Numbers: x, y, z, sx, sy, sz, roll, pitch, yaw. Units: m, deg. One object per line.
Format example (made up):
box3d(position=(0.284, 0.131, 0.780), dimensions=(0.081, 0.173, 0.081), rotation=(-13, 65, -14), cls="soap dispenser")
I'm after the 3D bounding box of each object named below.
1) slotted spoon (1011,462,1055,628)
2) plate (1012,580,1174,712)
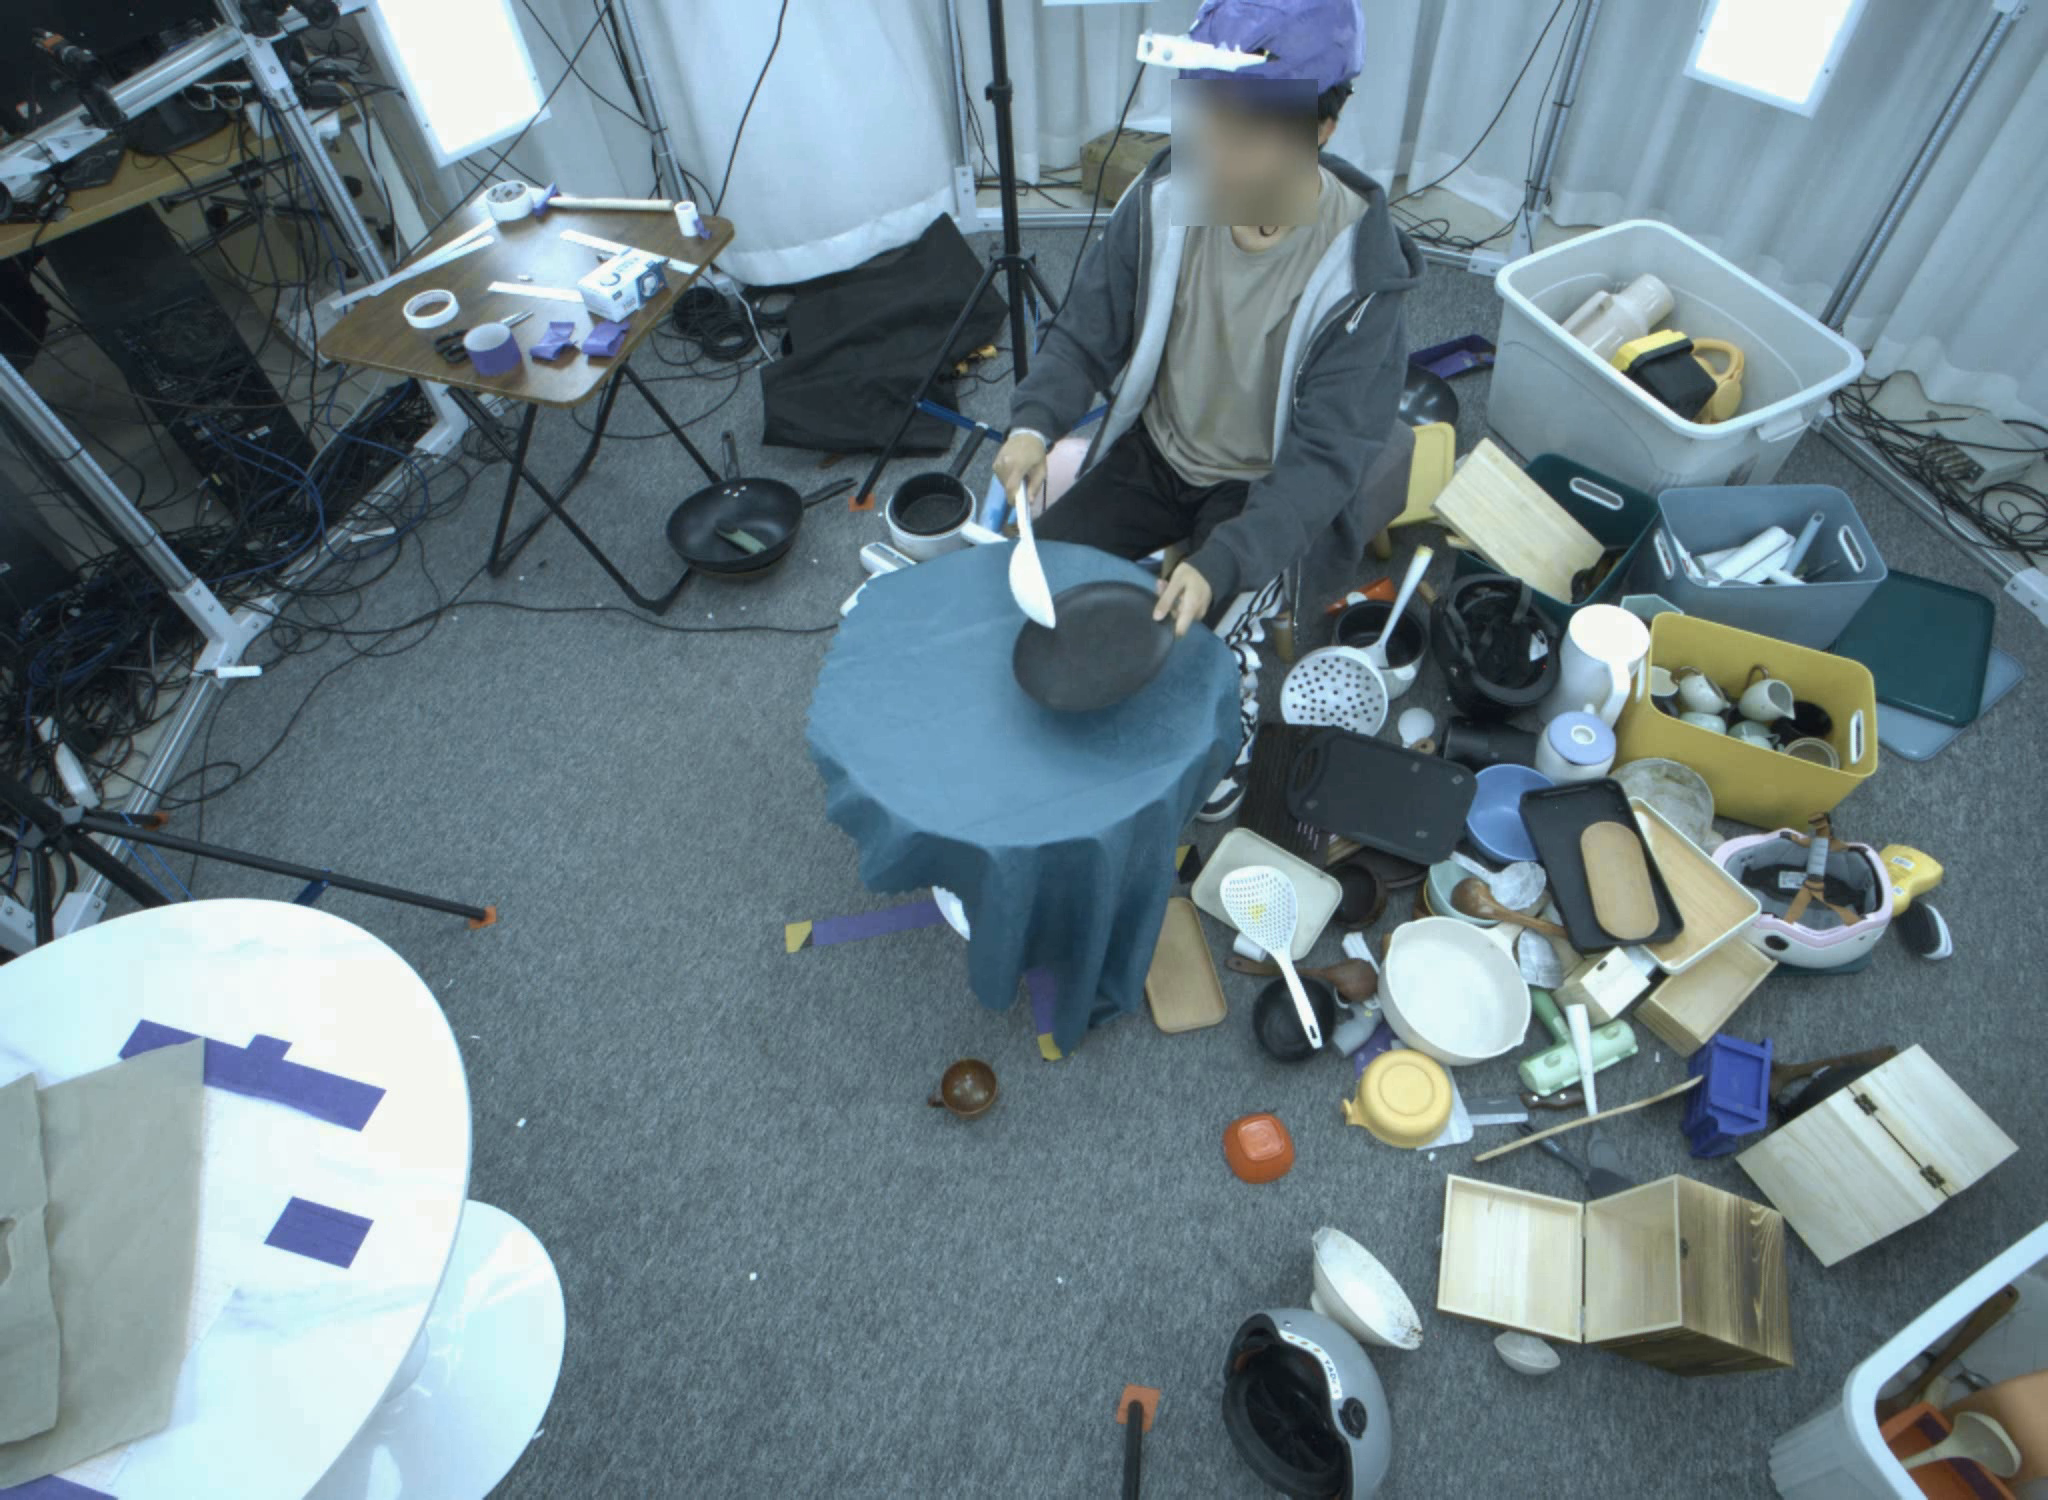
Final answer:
box3d(position=(0.004, -0.323, 1.856), dimensions=(0.045, 0.138, 0.346), rotation=(-13, 51, 14), cls="slotted spoon")
box3d(position=(0.101, -0.150, 1.794), dimensions=(0.242, 0.024, 0.242), rotation=(-9, 54, 13), cls="plate")
